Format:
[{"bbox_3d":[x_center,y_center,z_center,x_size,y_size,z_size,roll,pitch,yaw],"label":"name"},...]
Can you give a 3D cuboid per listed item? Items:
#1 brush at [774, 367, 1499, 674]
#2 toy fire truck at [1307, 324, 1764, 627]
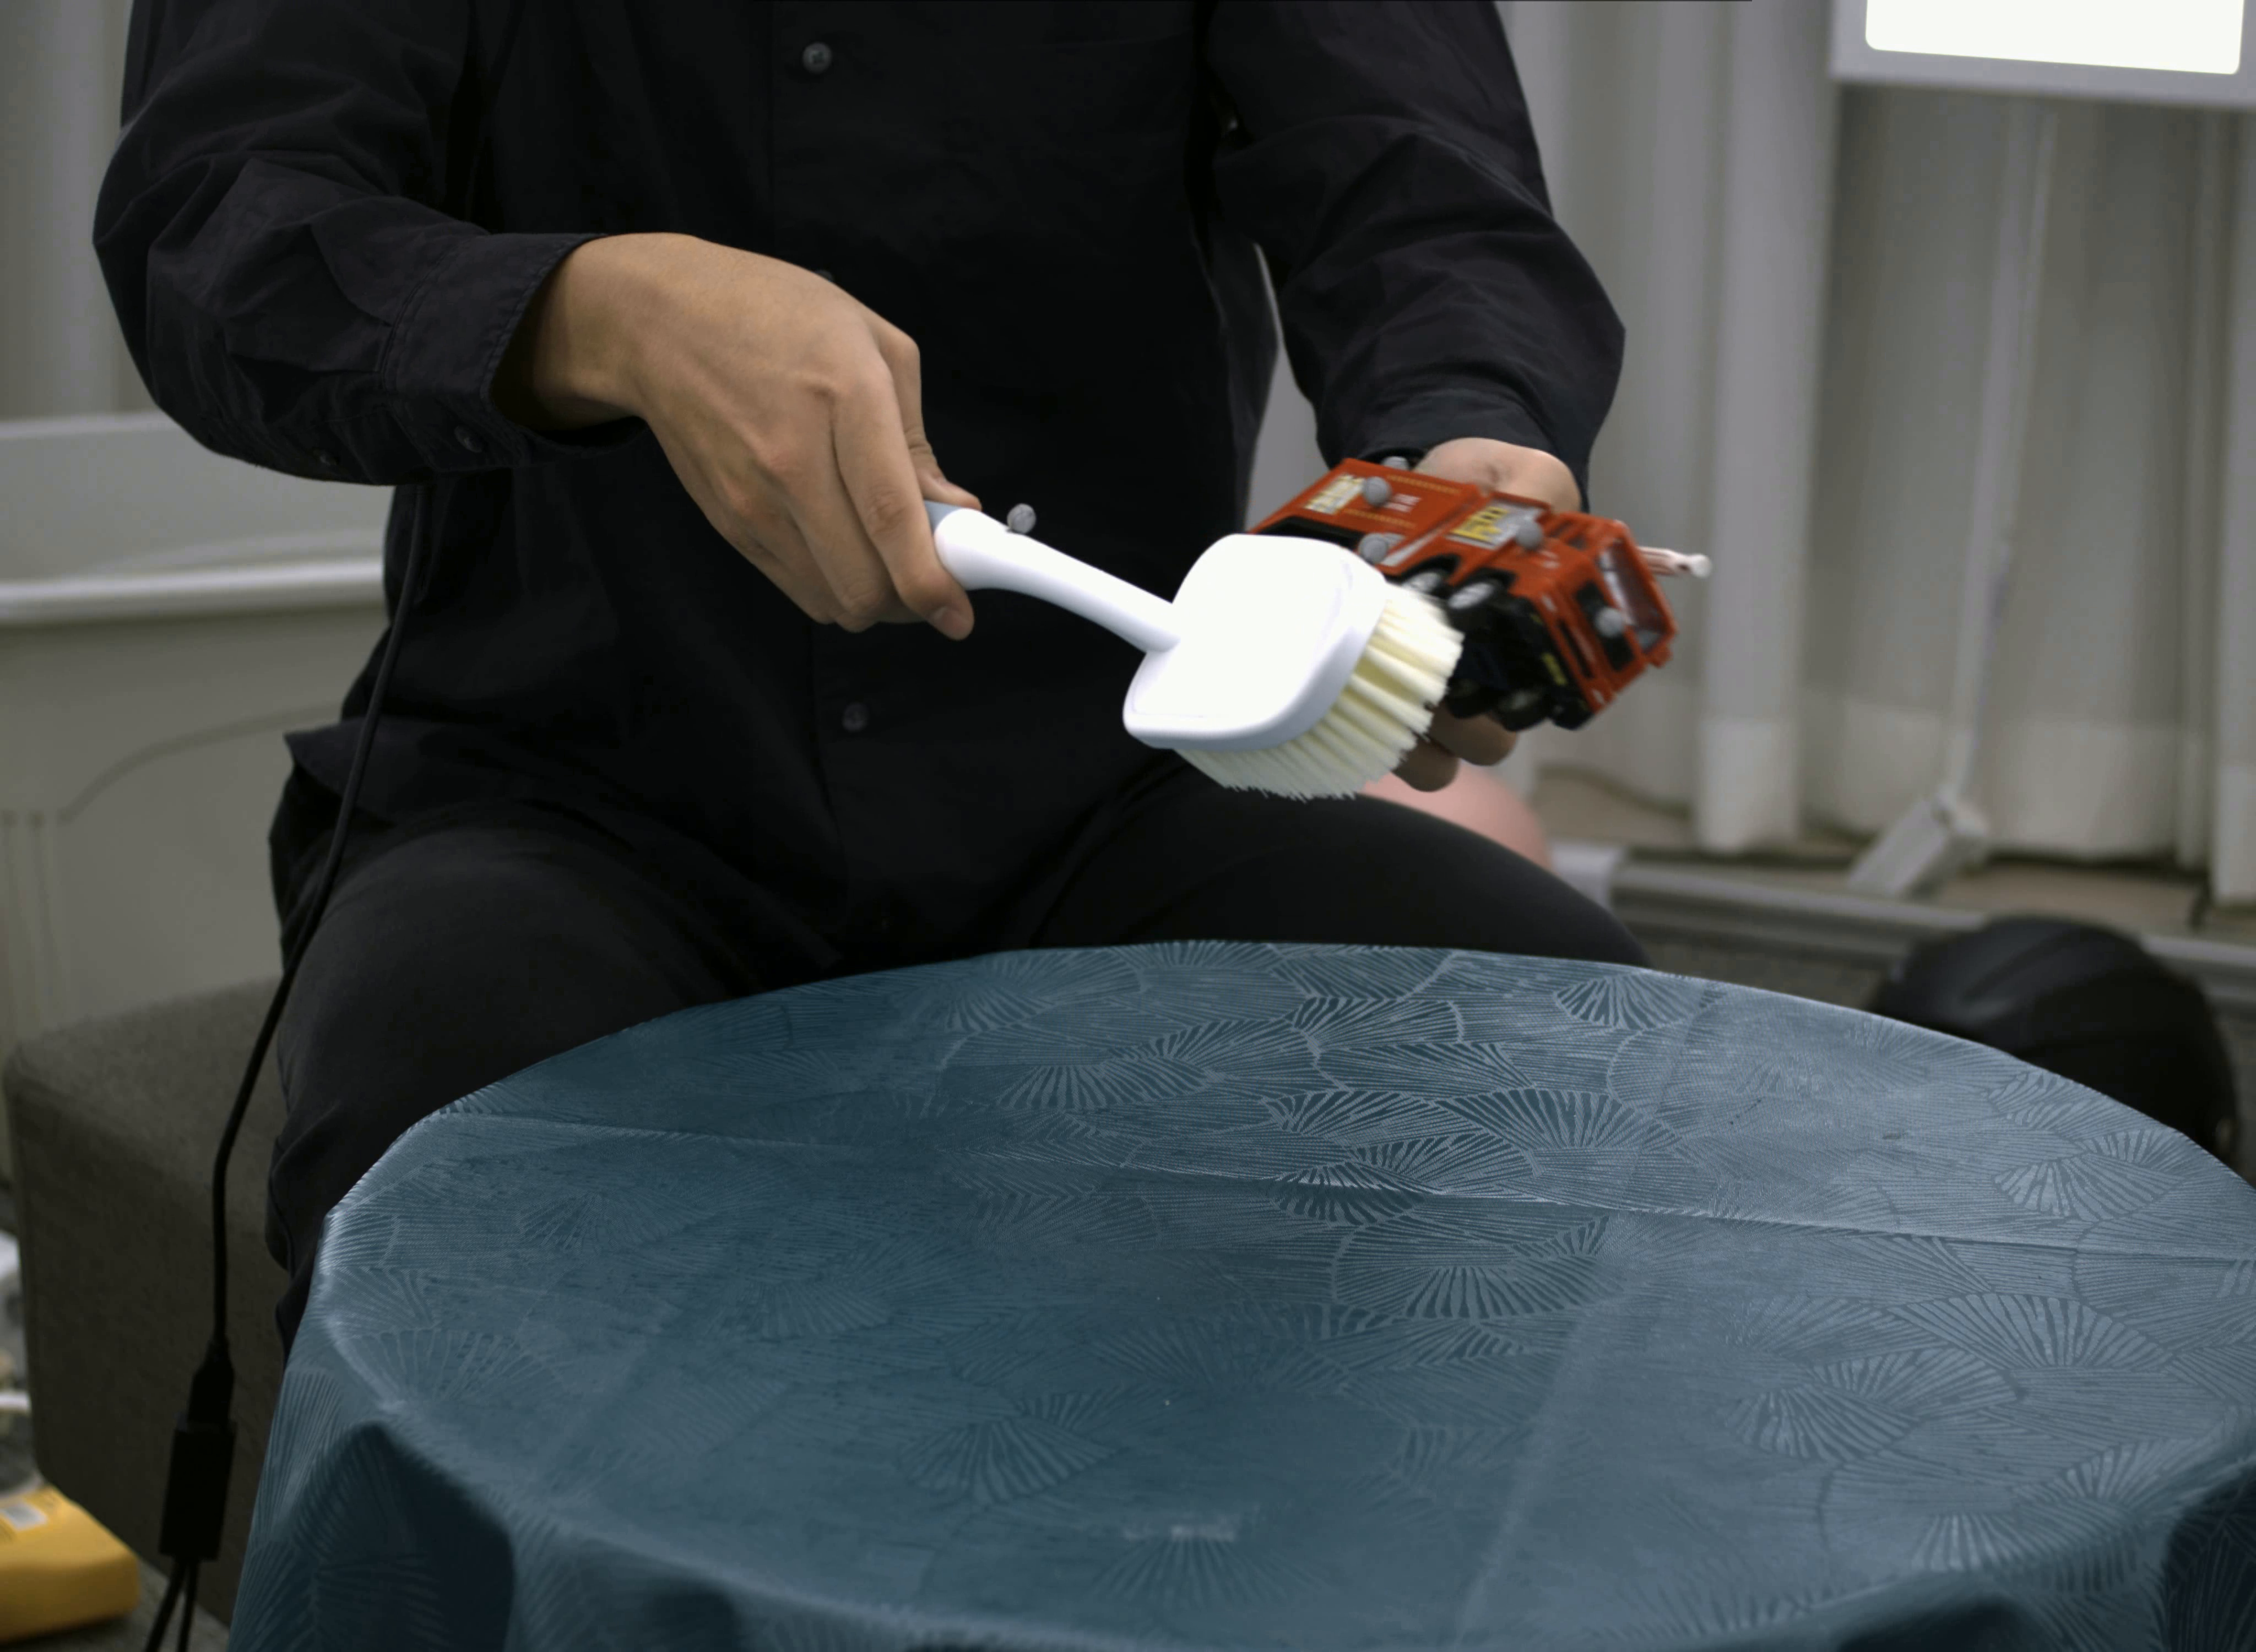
[{"bbox_3d":[0.009,-0.100,1.606,0.083,0.085,0.321,-32,27,-28],"label":"brush"},{"bbox_3d":[0.115,-0.105,1.548,0.070,0.054,0.166,-39,25,-18],"label":"toy fire truck"}]
